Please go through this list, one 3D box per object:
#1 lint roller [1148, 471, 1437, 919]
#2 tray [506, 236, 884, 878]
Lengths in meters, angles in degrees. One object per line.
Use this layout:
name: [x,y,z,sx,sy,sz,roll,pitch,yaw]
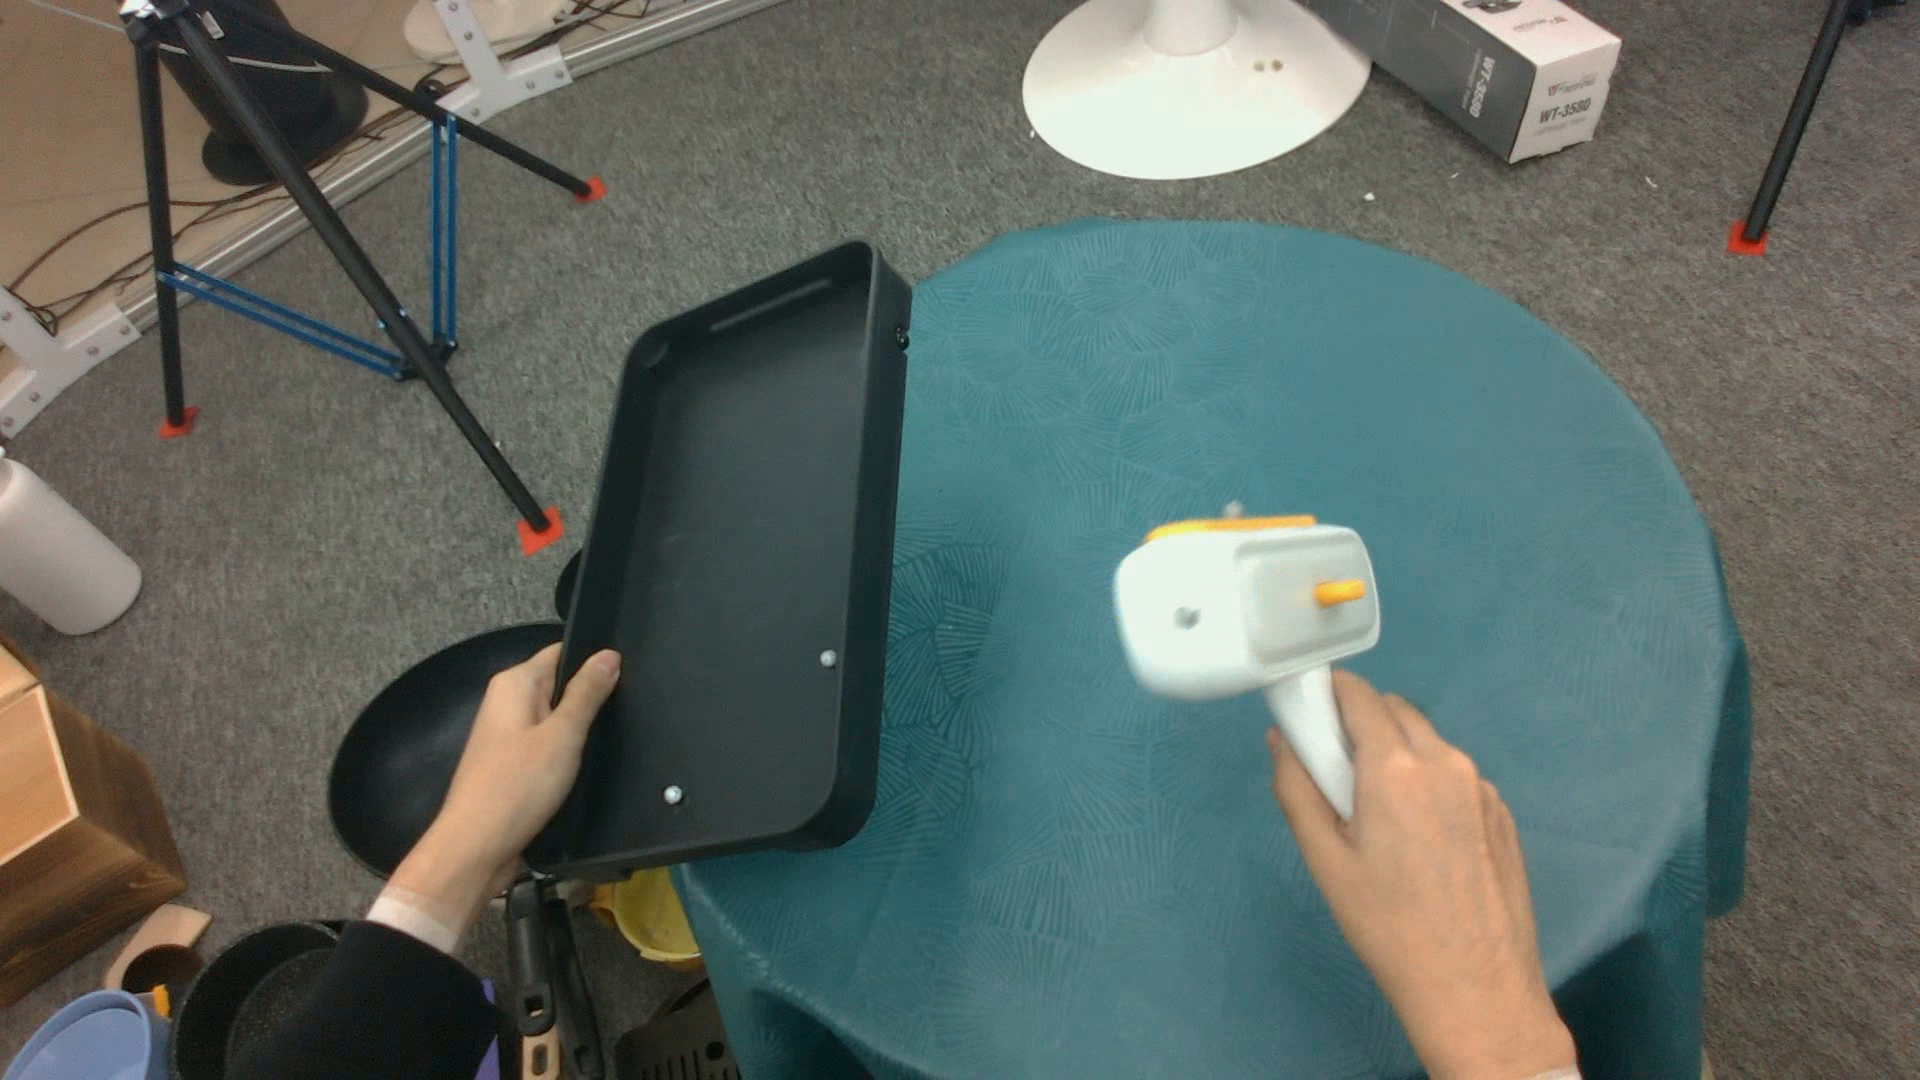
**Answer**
lint roller: [0.145,0.065,0.571,0.074,0.193,0.192,-14,88,20]
tray: [-0.125,0.002,0.689,0.184,0.037,0.319,-16,56,25]
